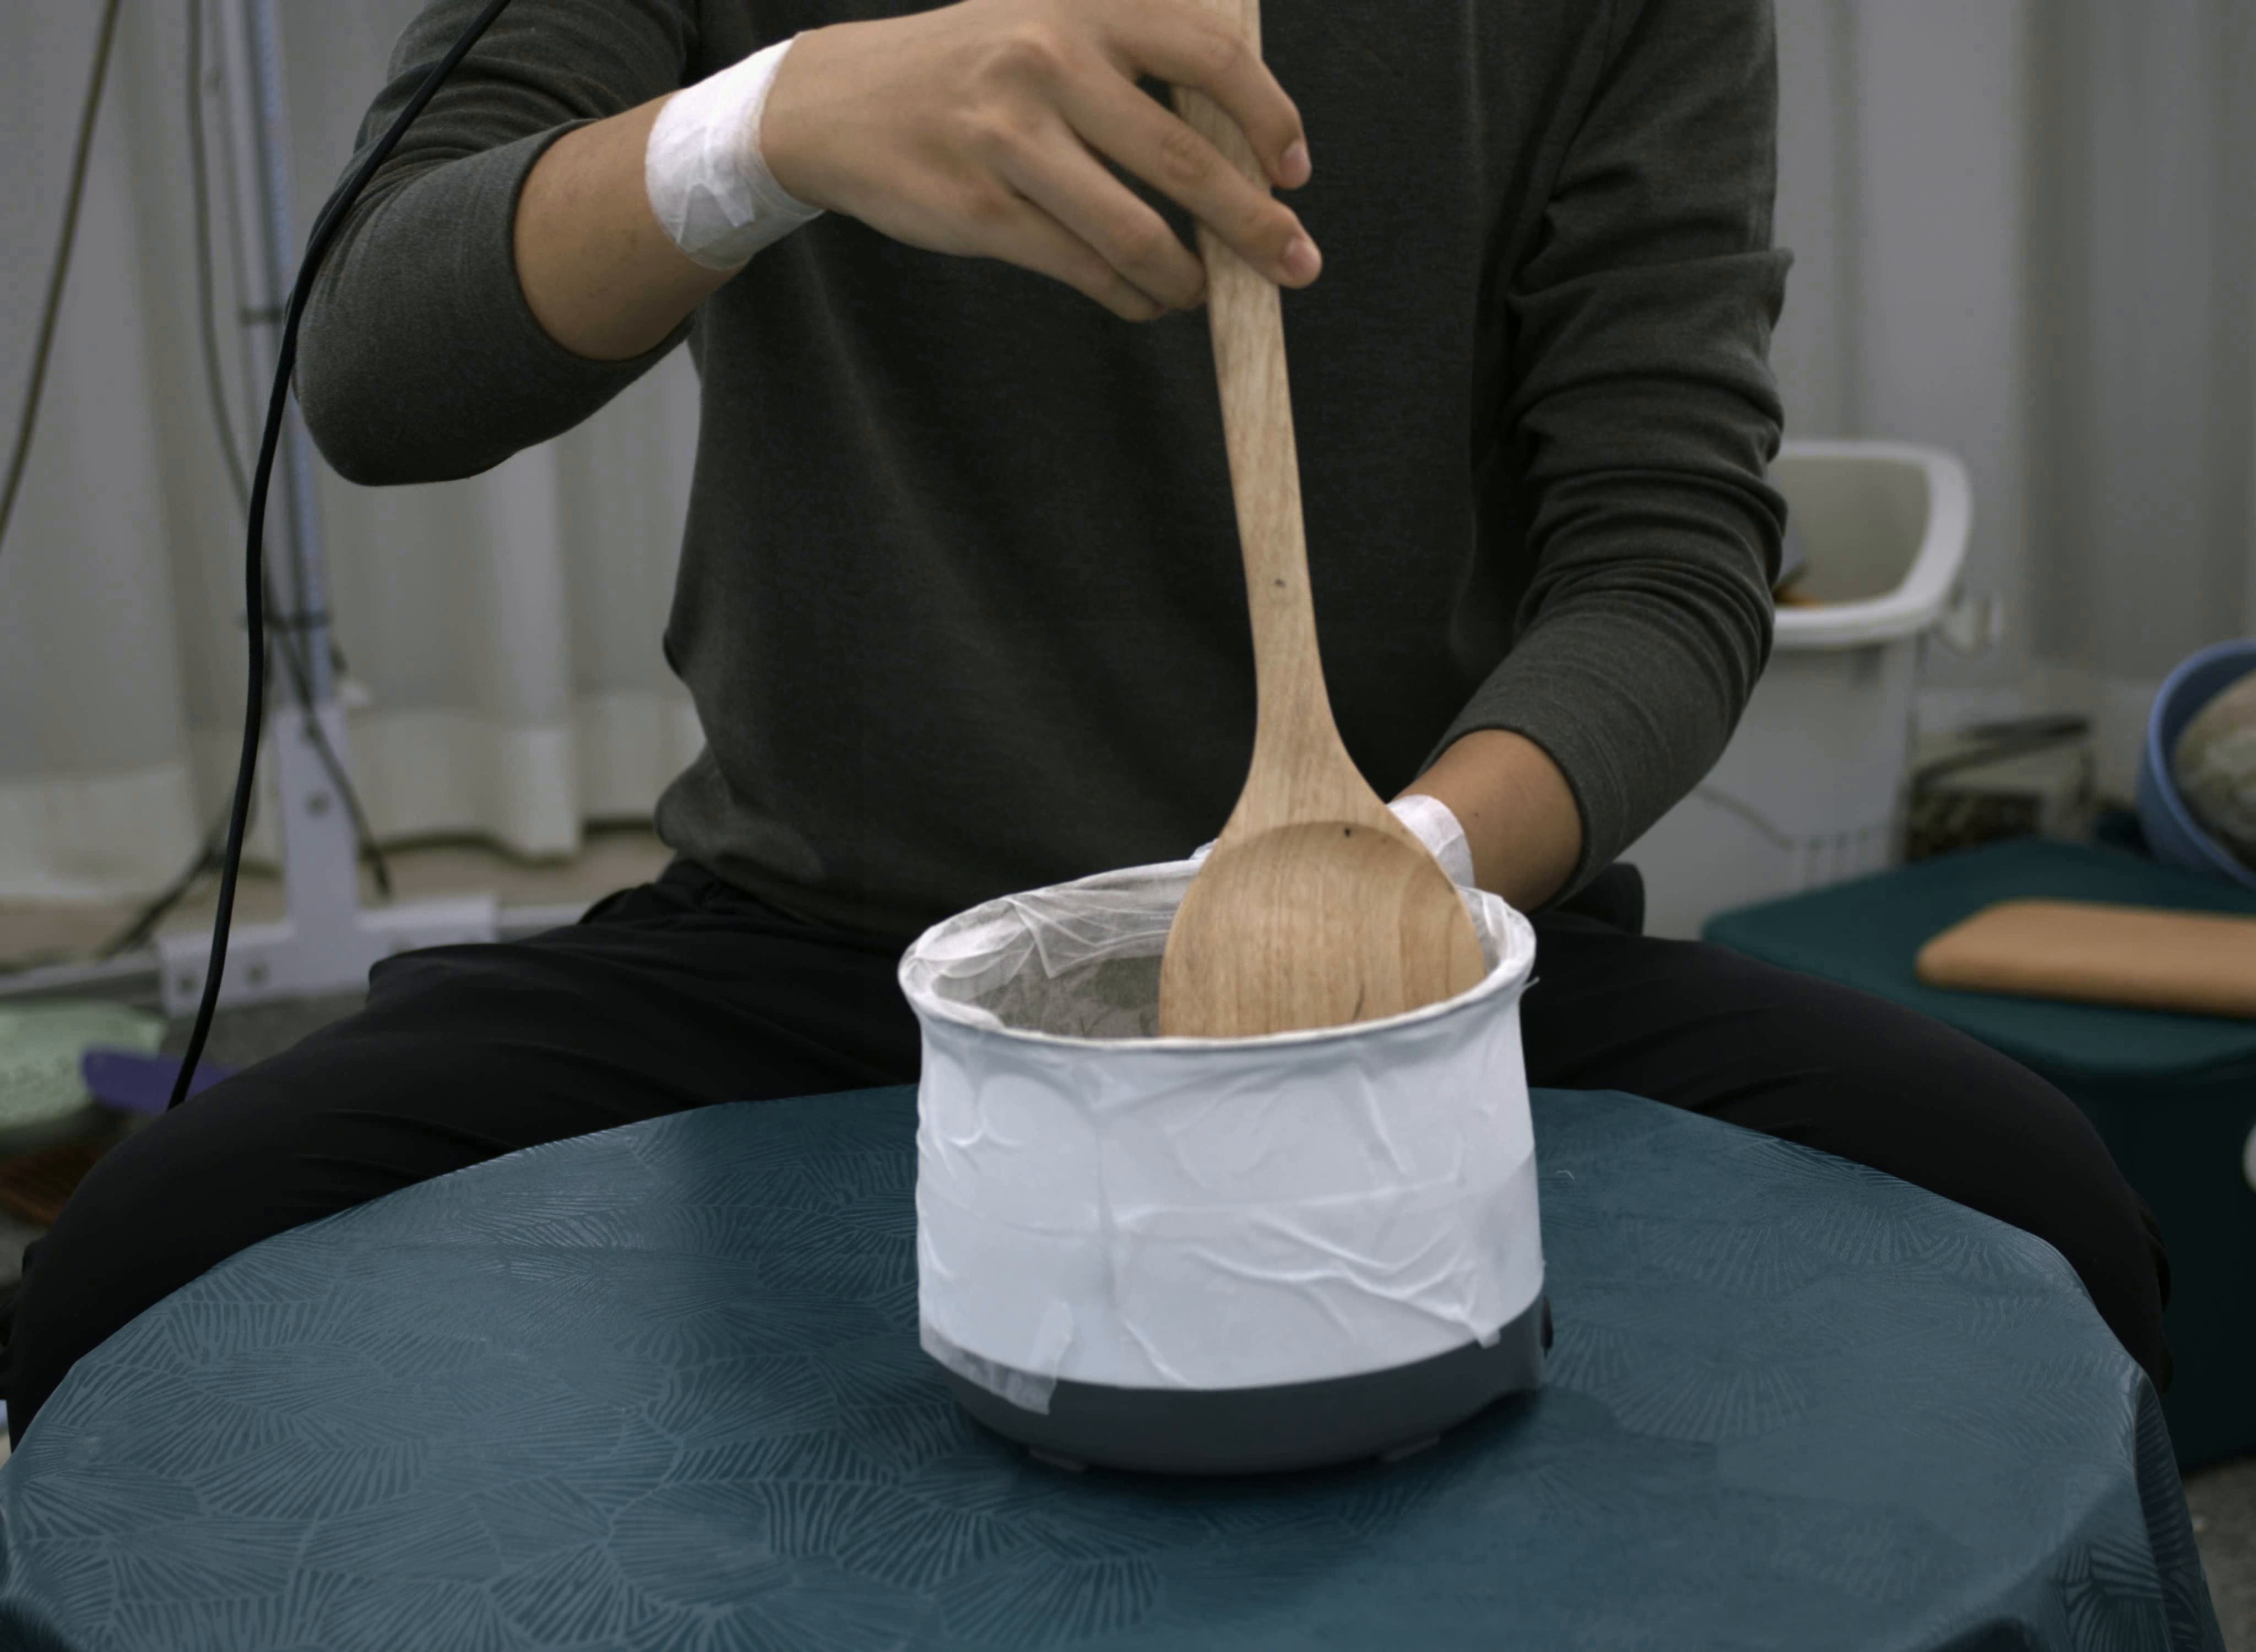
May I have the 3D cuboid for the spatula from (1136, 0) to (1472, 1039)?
[{"bbox_3d":[0.030,-0.102,1.513,0.095,0.391,0.018,-7,4,-2],"label":"spatula"}]

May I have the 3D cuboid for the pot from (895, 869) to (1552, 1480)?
[{"bbox_3d":[0.028,0.089,1.549,0.178,0.136,0.235,-3,14,2],"label":"pot"}]
